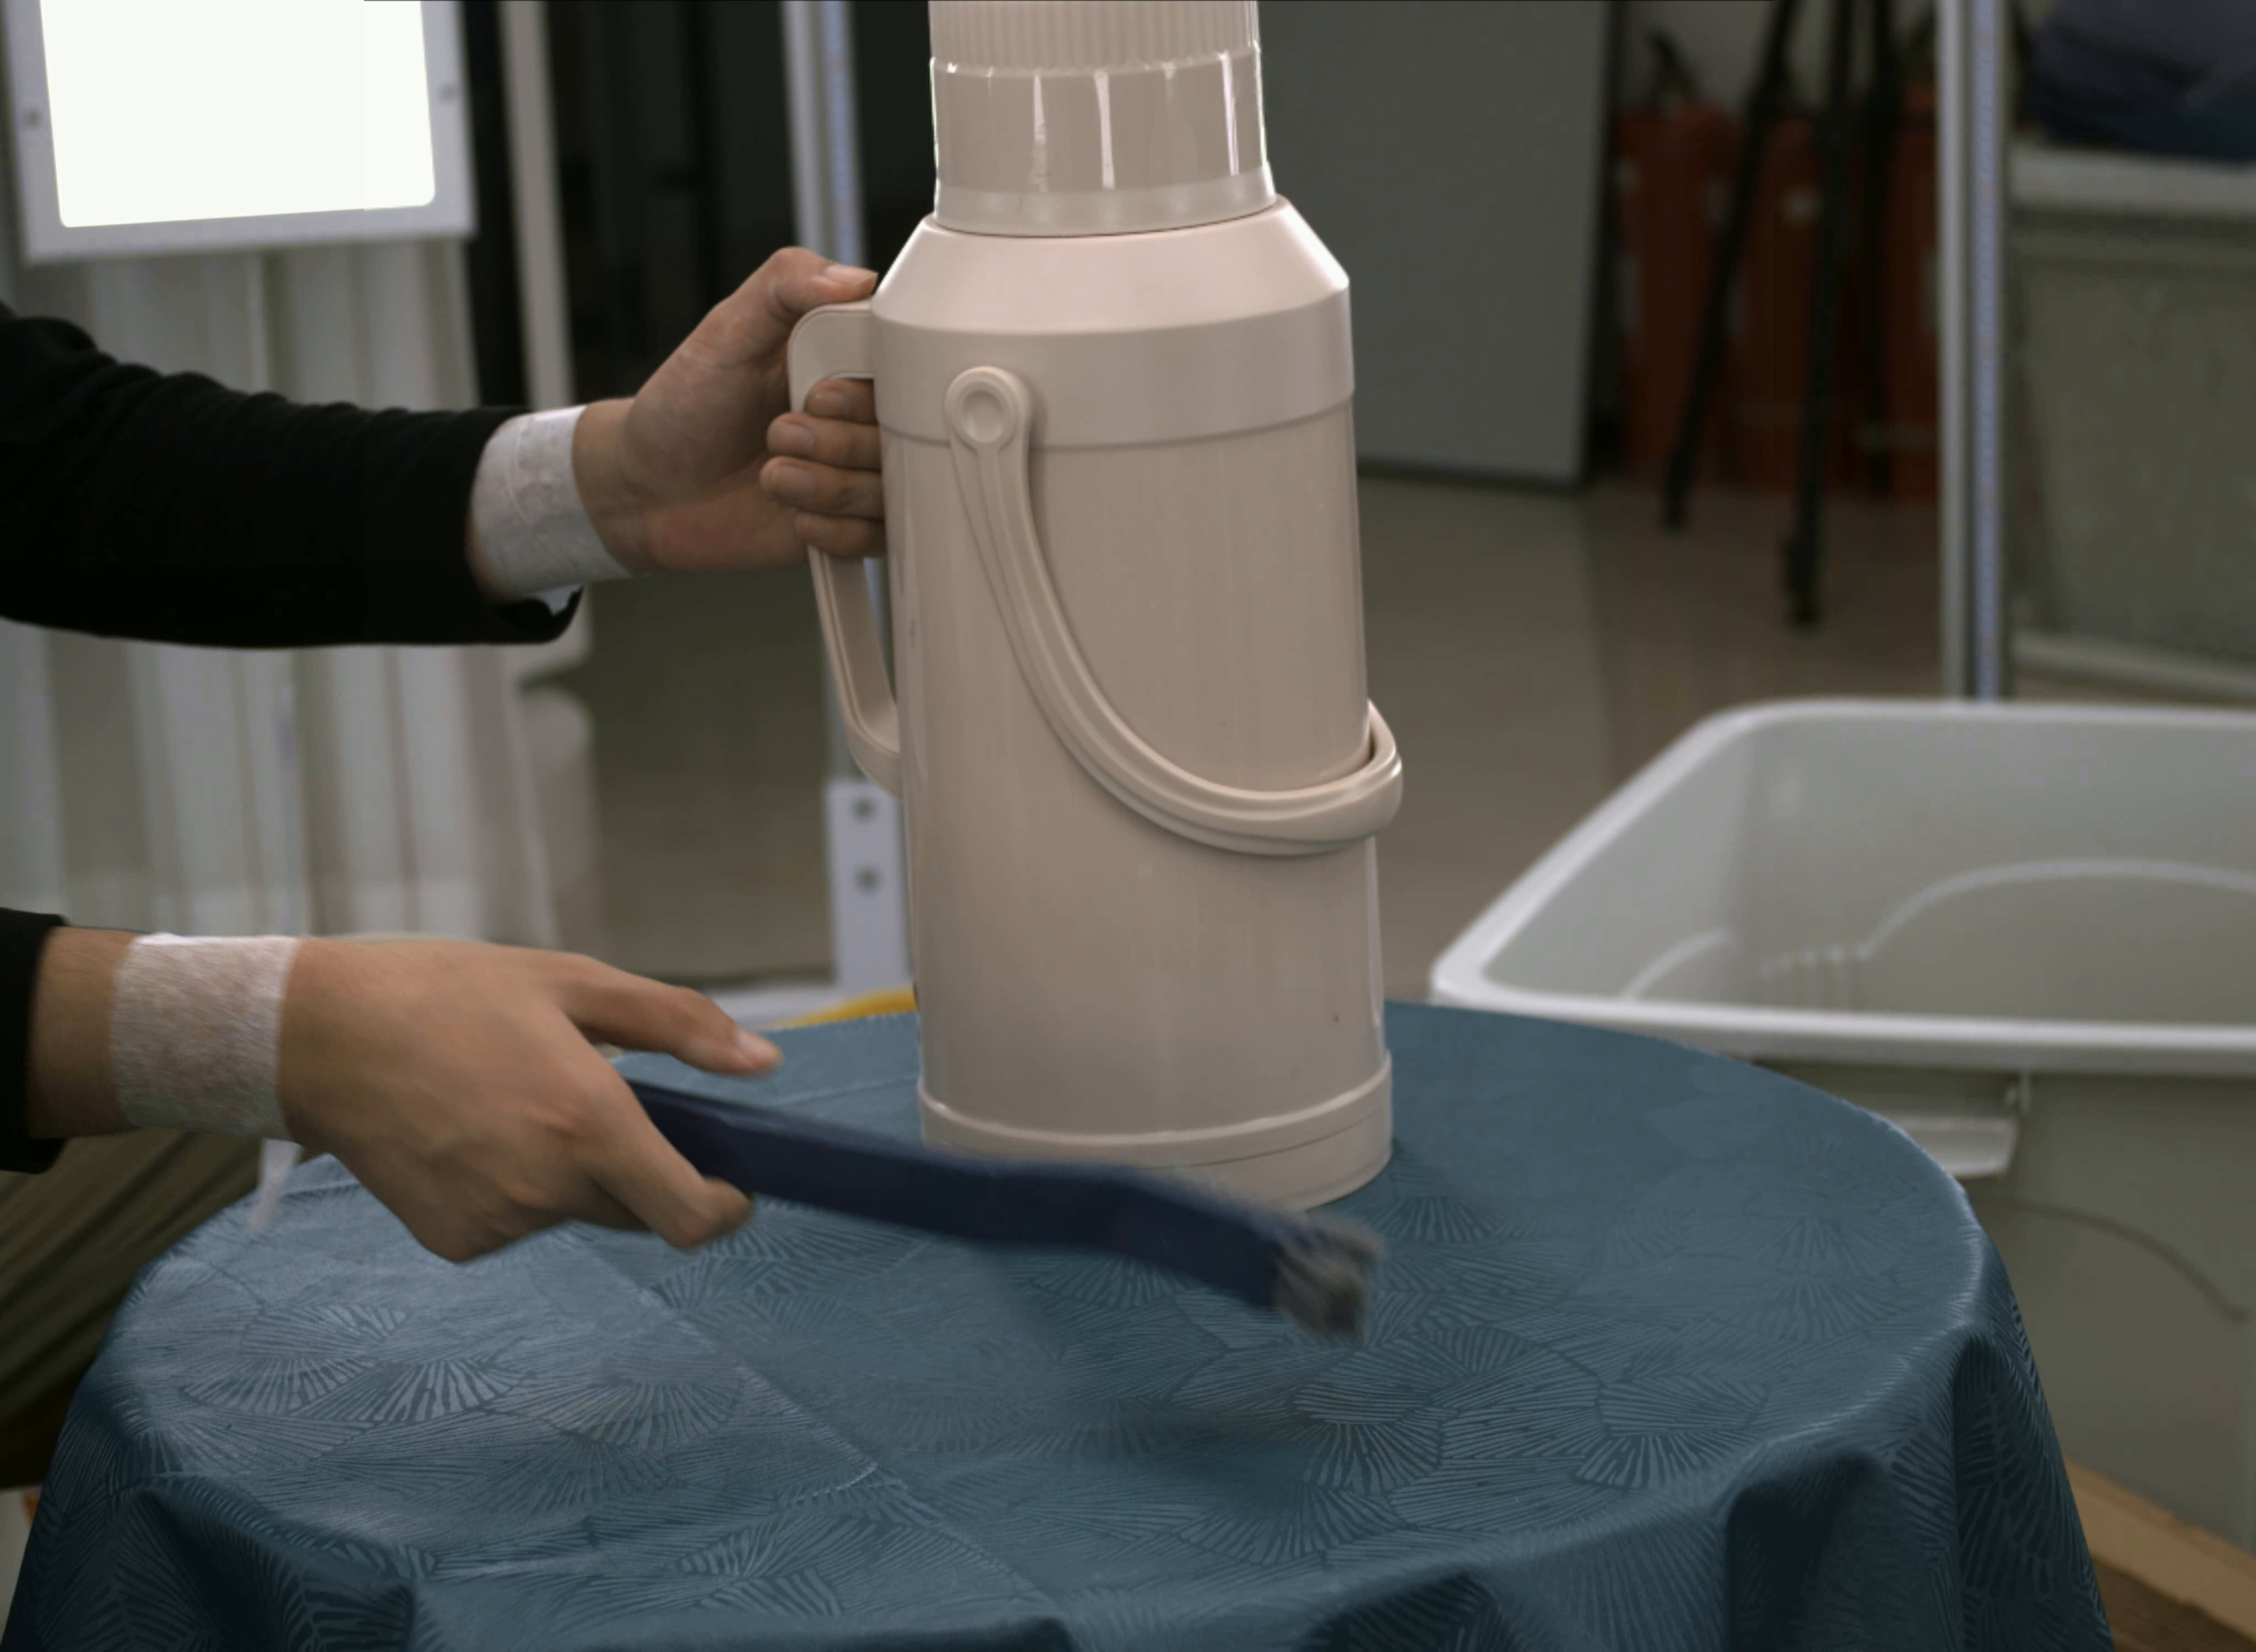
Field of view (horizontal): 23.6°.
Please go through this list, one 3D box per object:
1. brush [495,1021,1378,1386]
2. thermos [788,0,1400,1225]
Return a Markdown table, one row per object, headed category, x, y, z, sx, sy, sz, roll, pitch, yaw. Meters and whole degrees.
| category | x | y | z | sx | sy | sz | roll | pitch | yaw |
| --- | --- | --- | --- | --- | --- | --- | --- | --- | --- |
| brush | -0.061 | 0.106 | 1.541 | 0.271 | 0.034 | 0.095 | 11 | 15 | 11 |
| thermos | -0.013 | -0.083 | 1.765 | 0.207 | 0.410 | 0.173 | 4 | 17 | 28 |
